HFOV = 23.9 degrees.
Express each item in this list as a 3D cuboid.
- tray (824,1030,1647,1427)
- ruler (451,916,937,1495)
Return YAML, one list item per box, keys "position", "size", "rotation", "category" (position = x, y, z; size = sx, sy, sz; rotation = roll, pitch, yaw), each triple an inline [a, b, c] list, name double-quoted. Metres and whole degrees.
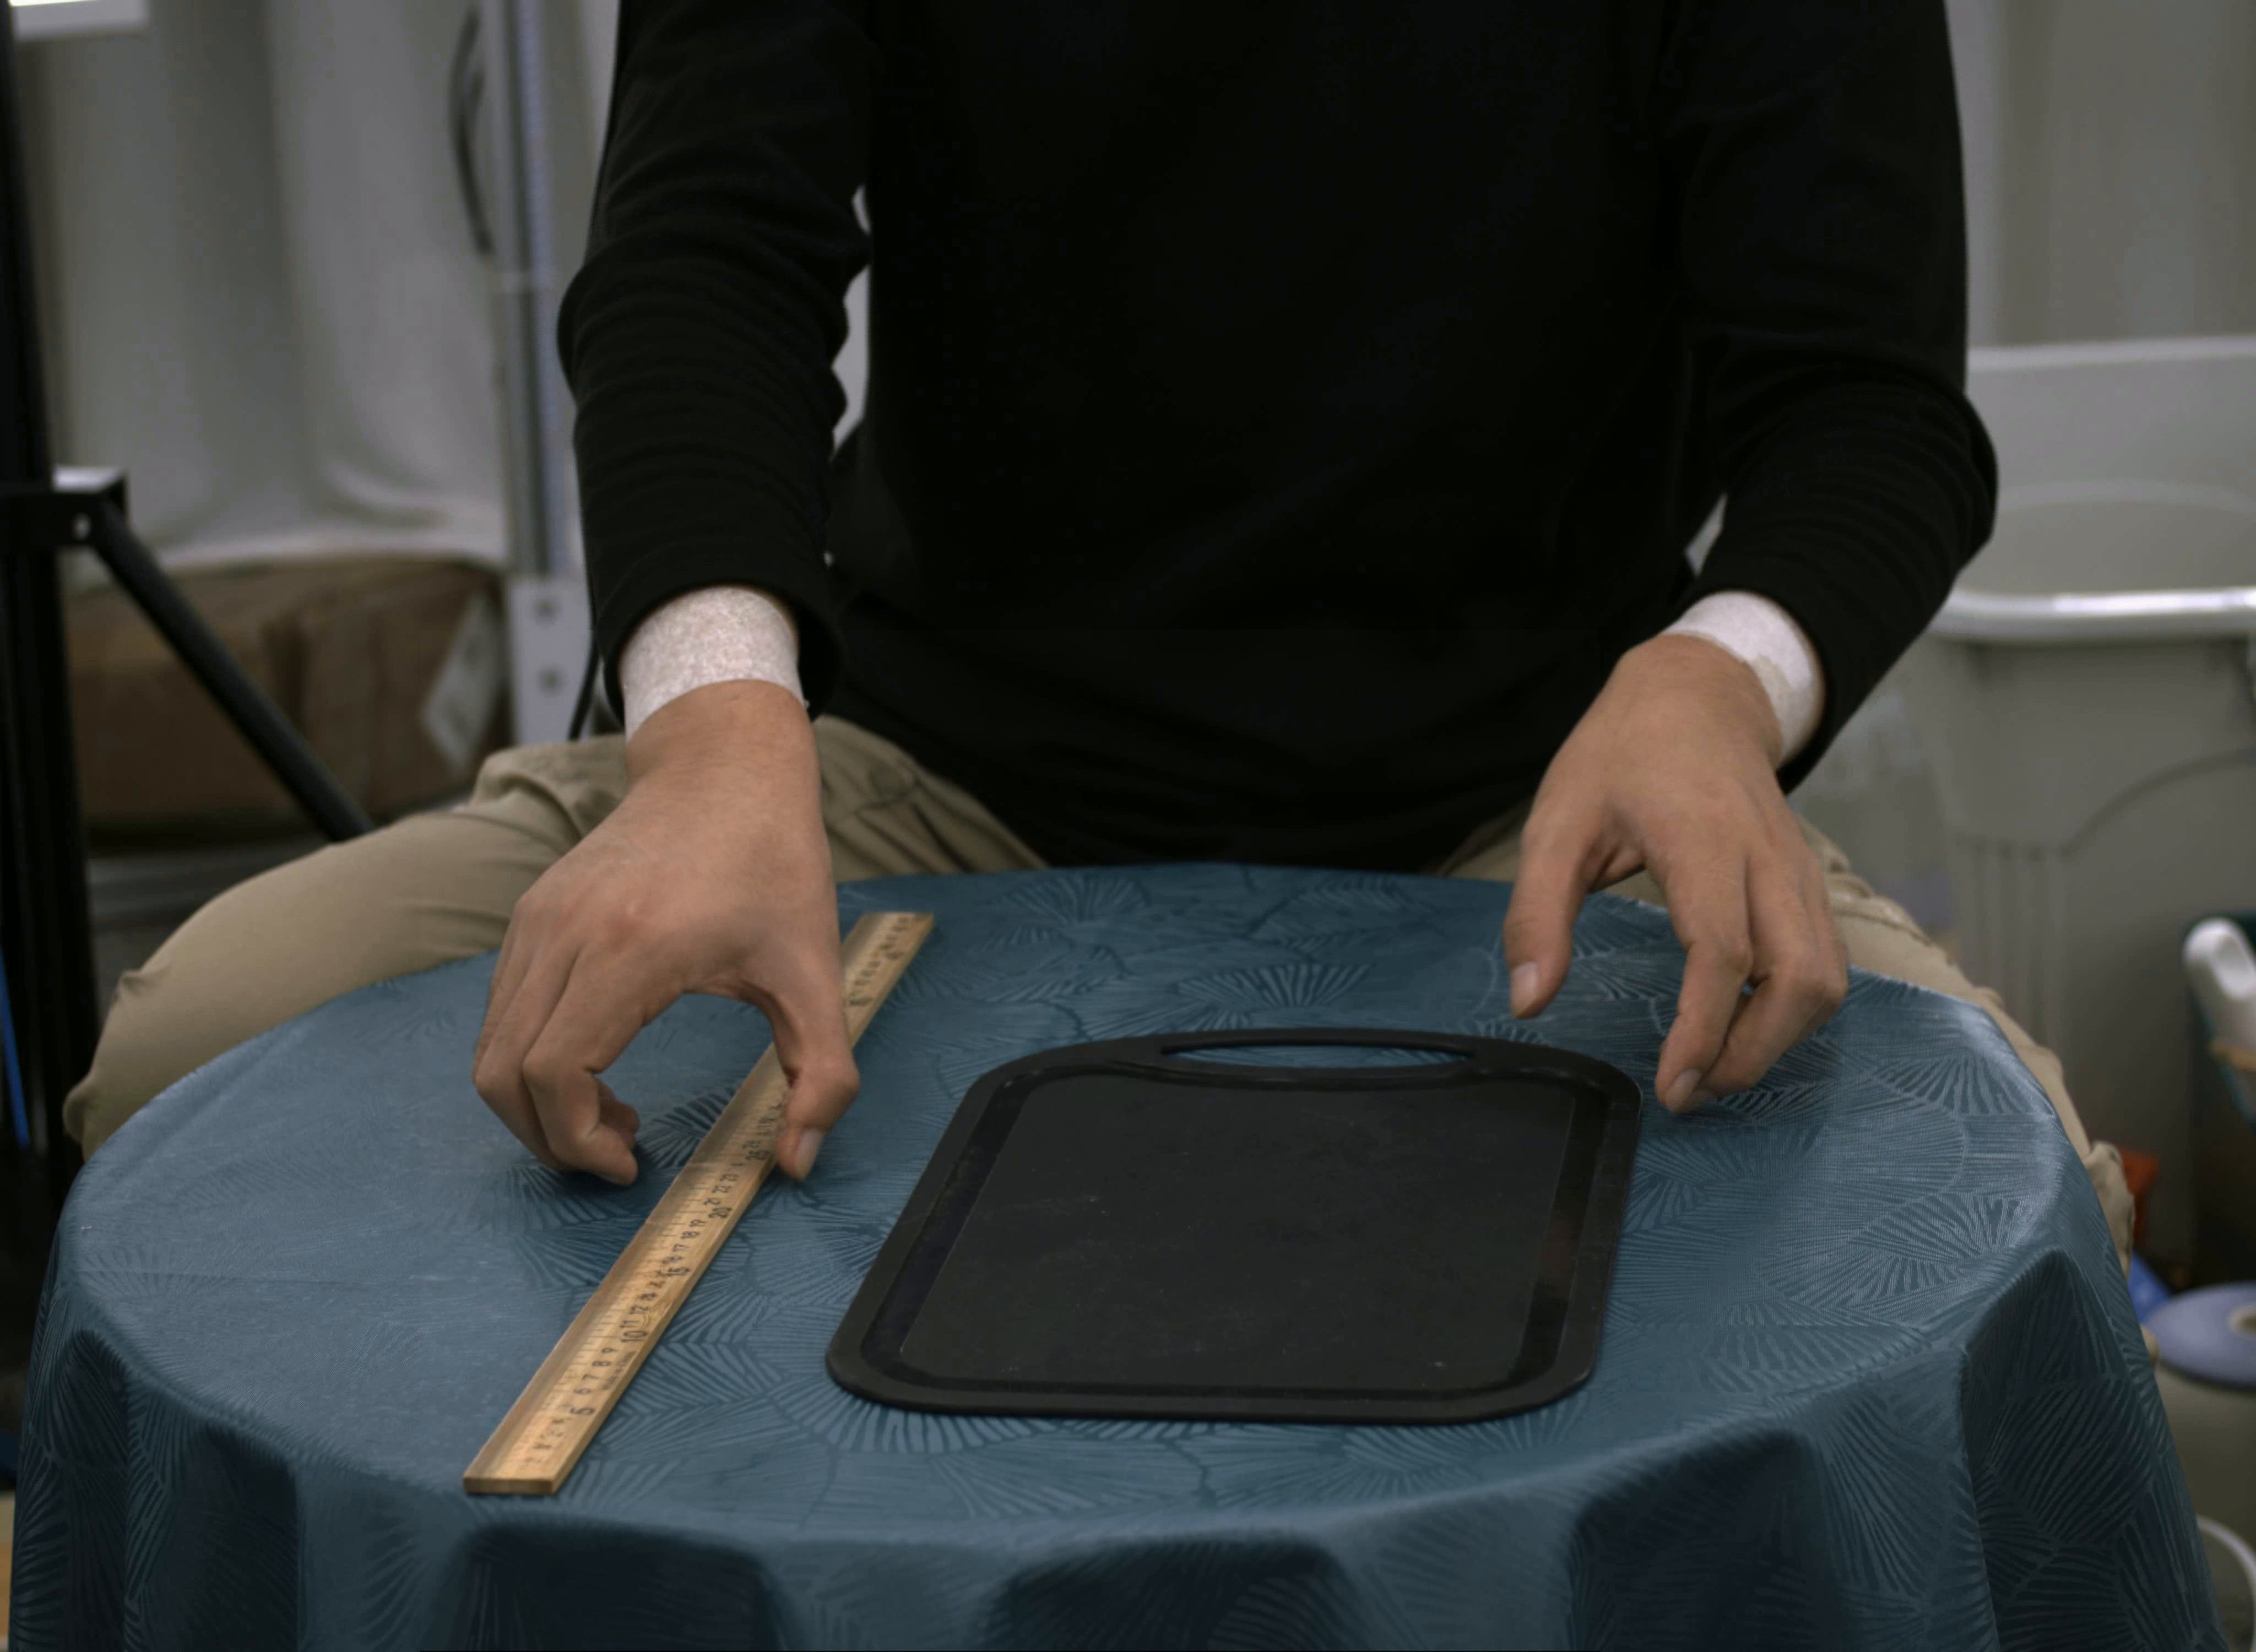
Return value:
- position: [0.039, 0.109, 1.535]
  size: [0.212, 0.010, 0.324]
  rotation: [0, 16, 10]
  category: "tray"
- position: [-0.118, 0.101, 1.593]
  size: [0.027, 0.006, 0.498]
  rotation: [4, 16, 9]
  category: "ruler"
